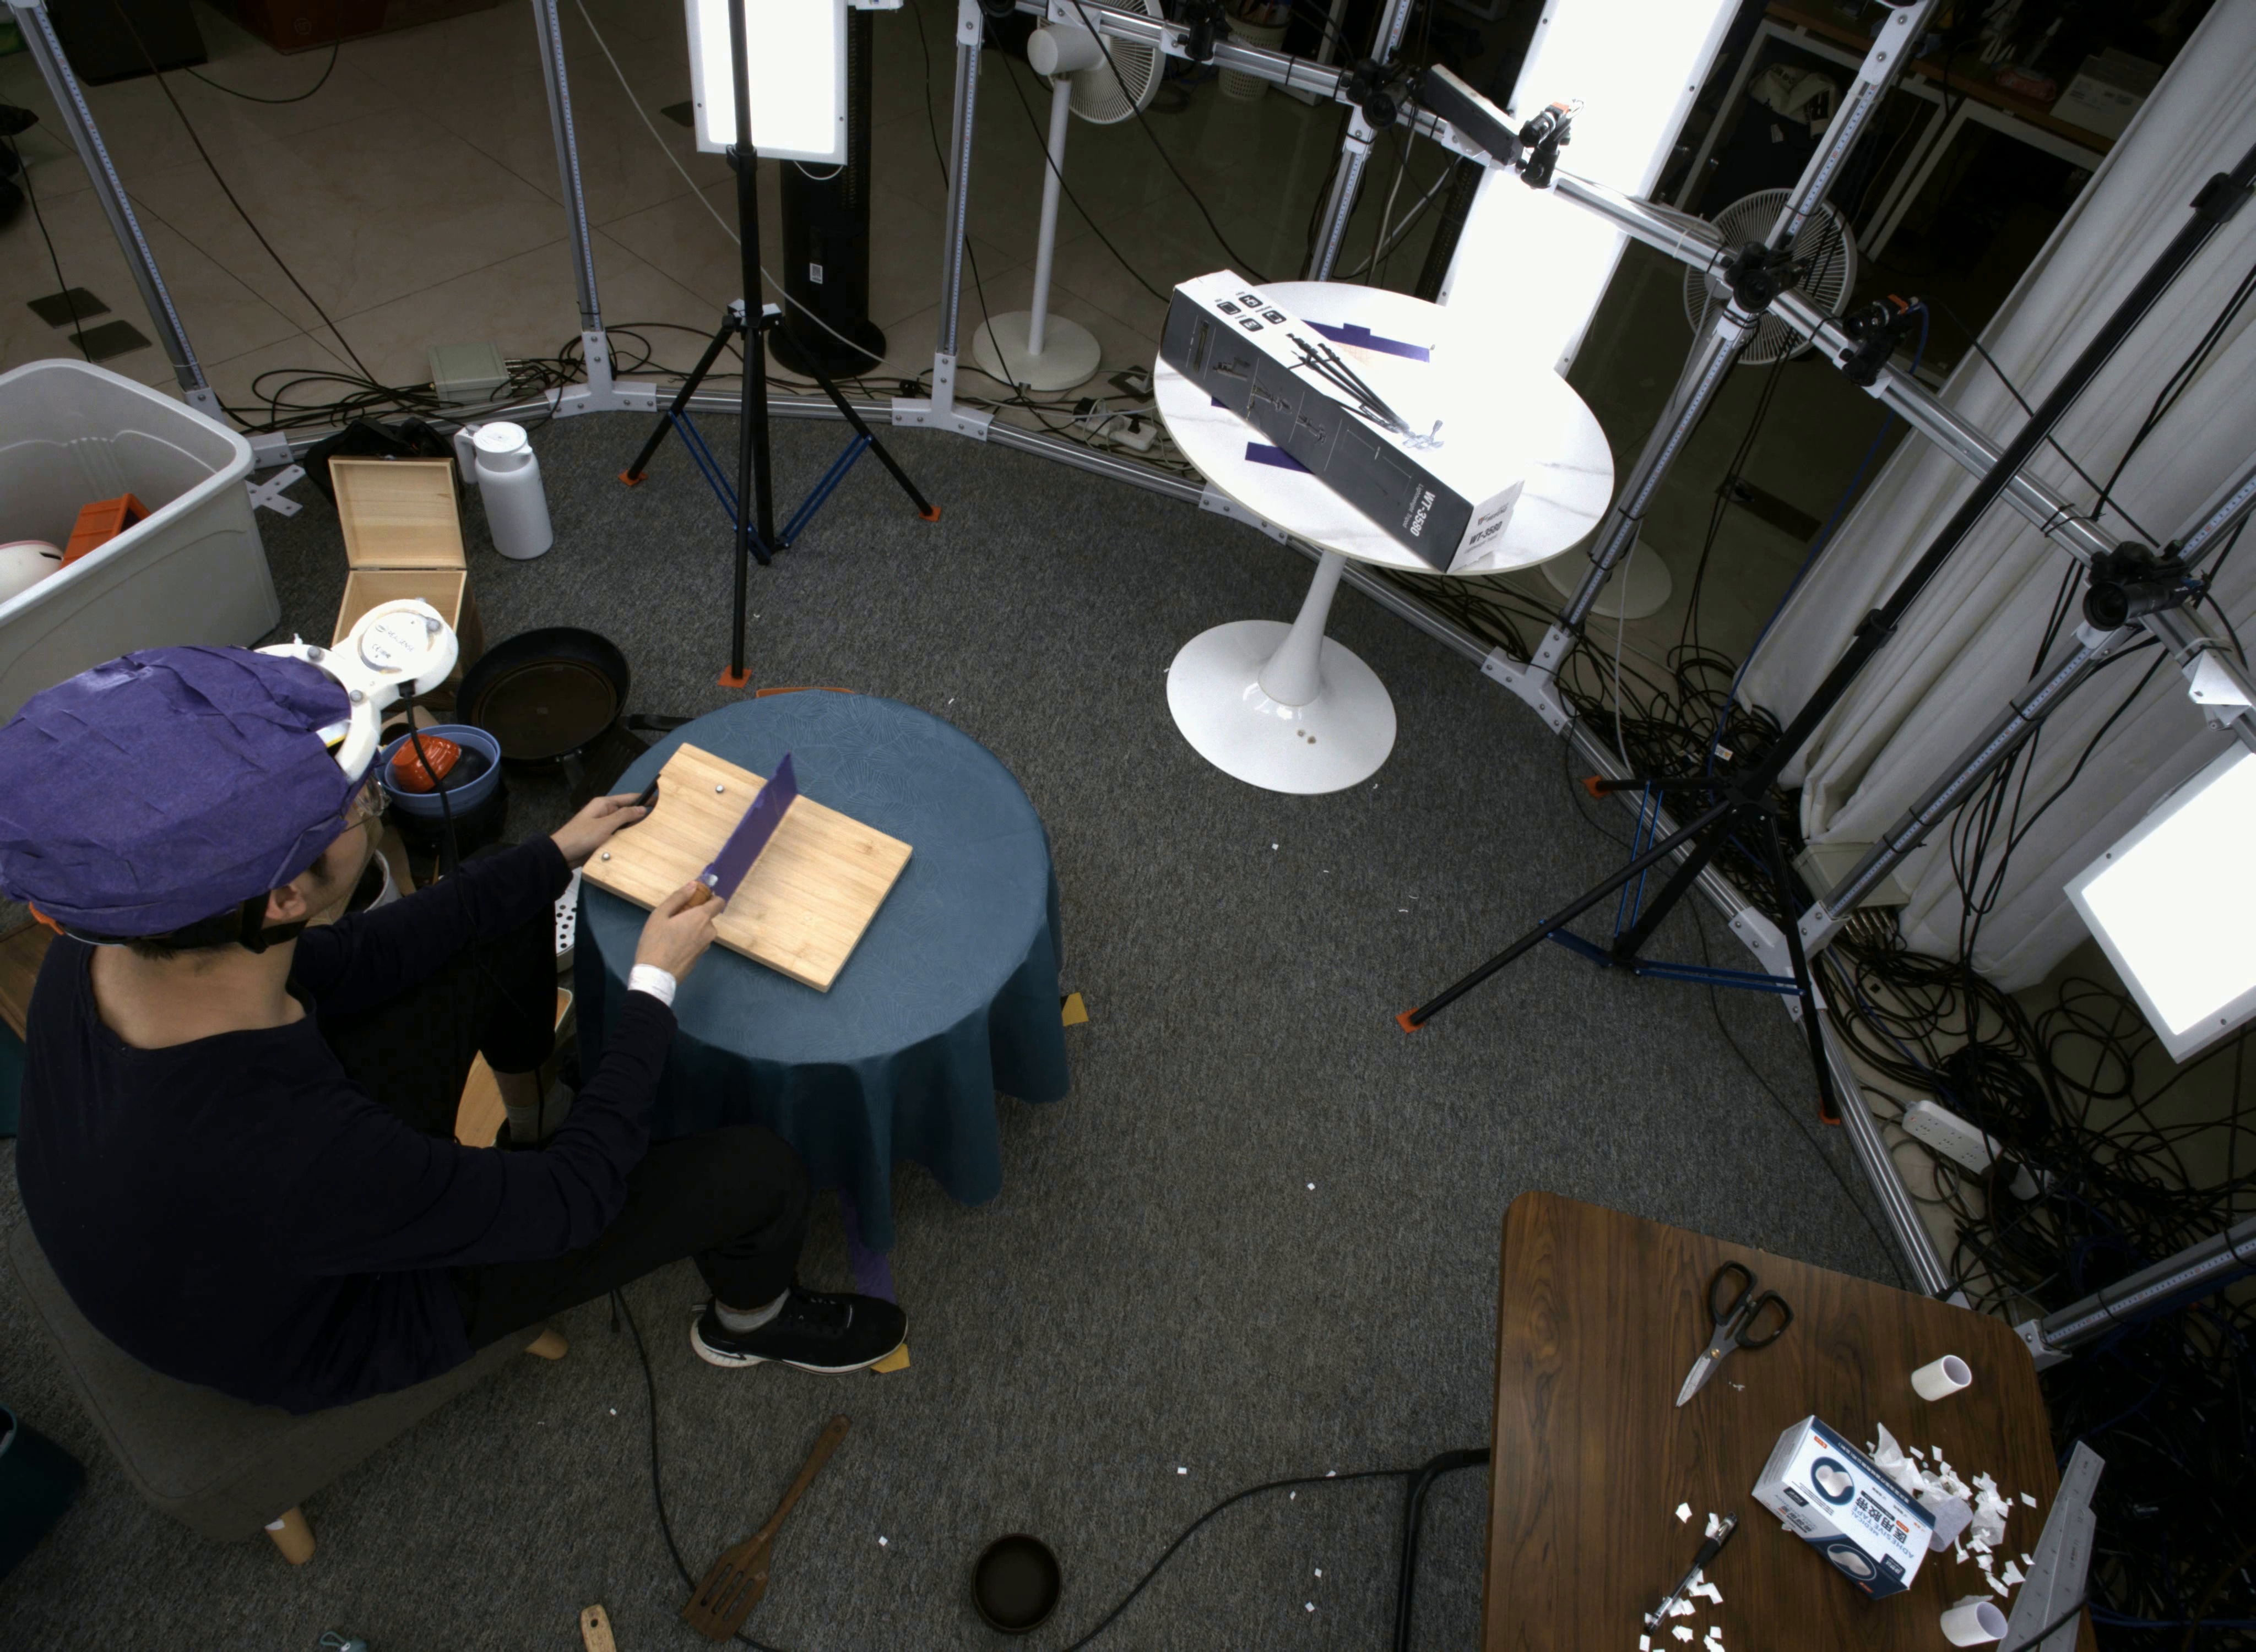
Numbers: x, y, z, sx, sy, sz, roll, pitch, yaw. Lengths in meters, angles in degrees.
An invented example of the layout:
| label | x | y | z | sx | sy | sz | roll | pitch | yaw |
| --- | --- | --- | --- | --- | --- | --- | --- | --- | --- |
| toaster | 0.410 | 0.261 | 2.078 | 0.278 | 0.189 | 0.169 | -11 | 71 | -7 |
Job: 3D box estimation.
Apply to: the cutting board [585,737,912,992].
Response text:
| label | x | y | z | sx | sy | sz | roll | pitch | yaw |
| --- | --- | --- | --- | --- | --- | --- | --- | --- | --- |
| cutting board | -0.484 | 0.043 | 1.659 | 0.346 | 0.024 | 0.248 | 25 | 52 | -2 |

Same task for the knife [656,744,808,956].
| label | x | y | z | sx | sy | sz | roll | pitch | yaw |
| --- | --- | --- | --- | --- | --- | --- | --- | --- | --- |
| knife | -0.473 | 0.042 | 1.584 | 0.031 | 0.106 | 0.313 | 19 | 55 | 11 |
